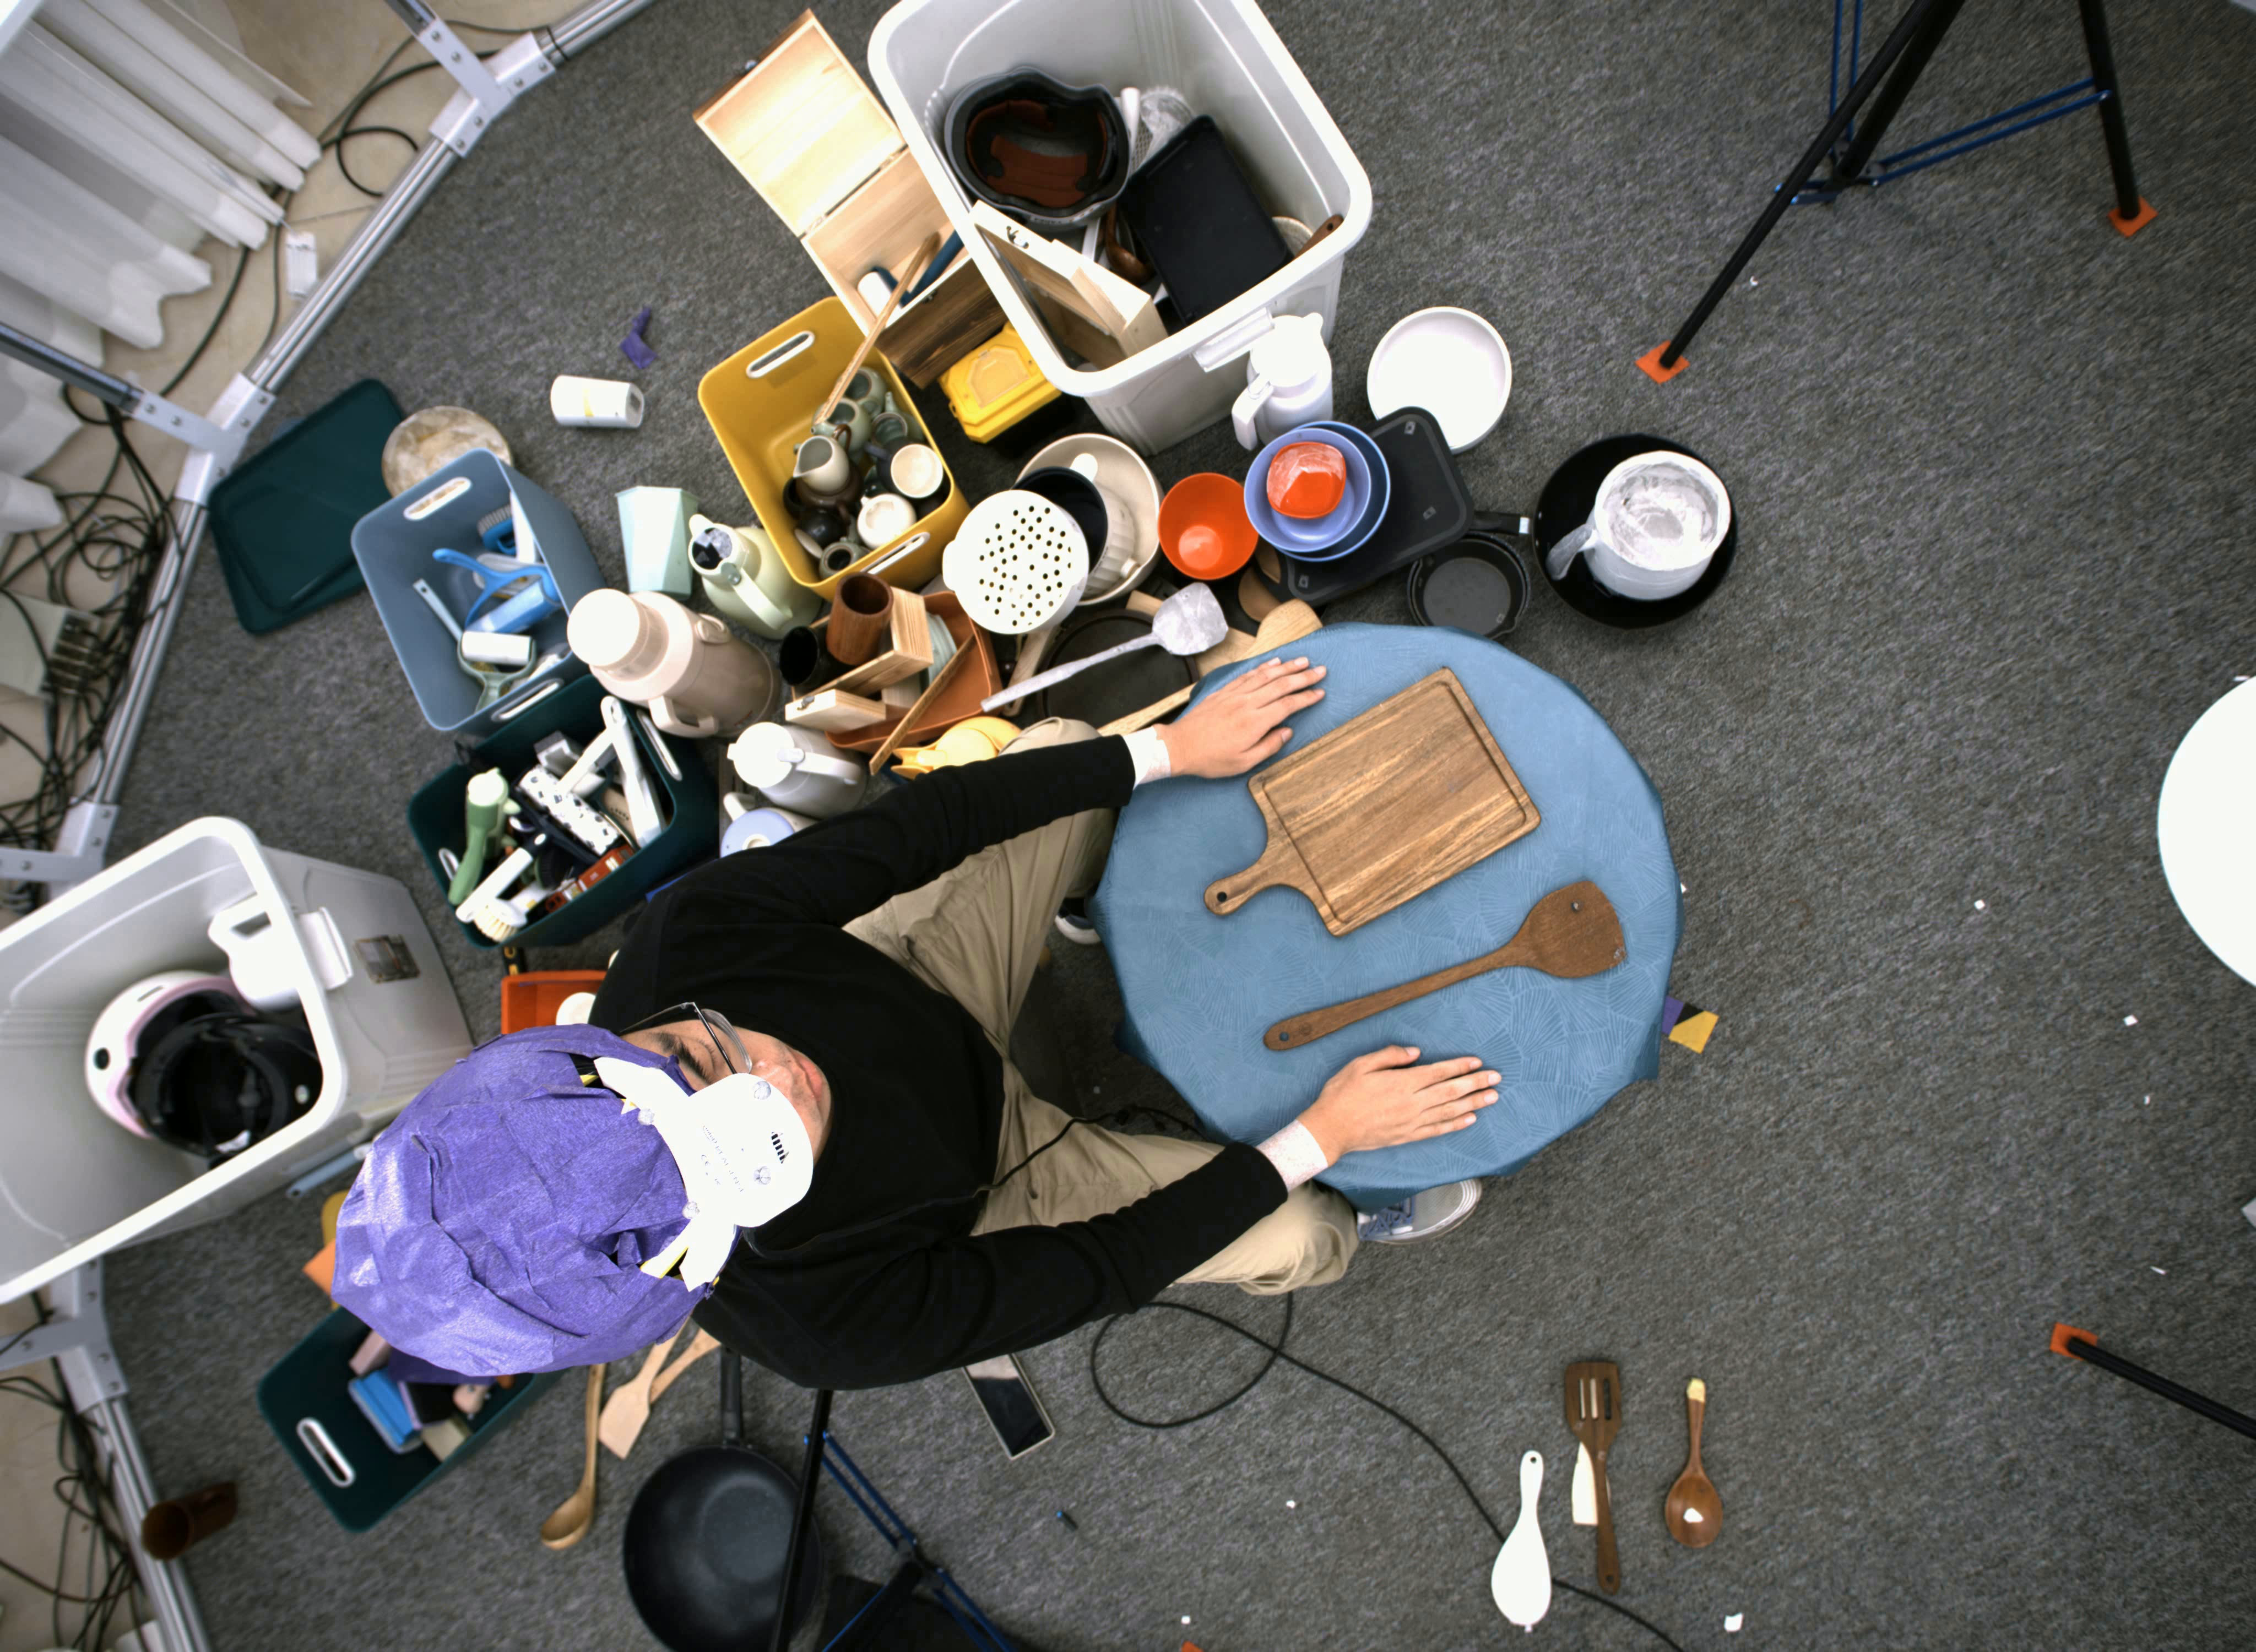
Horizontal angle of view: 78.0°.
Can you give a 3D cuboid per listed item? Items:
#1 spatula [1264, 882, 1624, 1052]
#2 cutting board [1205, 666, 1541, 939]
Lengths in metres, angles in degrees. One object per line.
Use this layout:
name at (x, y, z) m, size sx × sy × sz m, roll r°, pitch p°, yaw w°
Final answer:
spatula at (0.323, 0.161, 1.438) m, size 0.388 × 0.016 × 0.095 m, roll -21°, pitch 83°, yaw 9°
cutting board at (0.235, -0.002, 1.460) m, size 0.354 × 0.023 × 0.200 m, roll -31°, pitch 81°, yaw 7°
